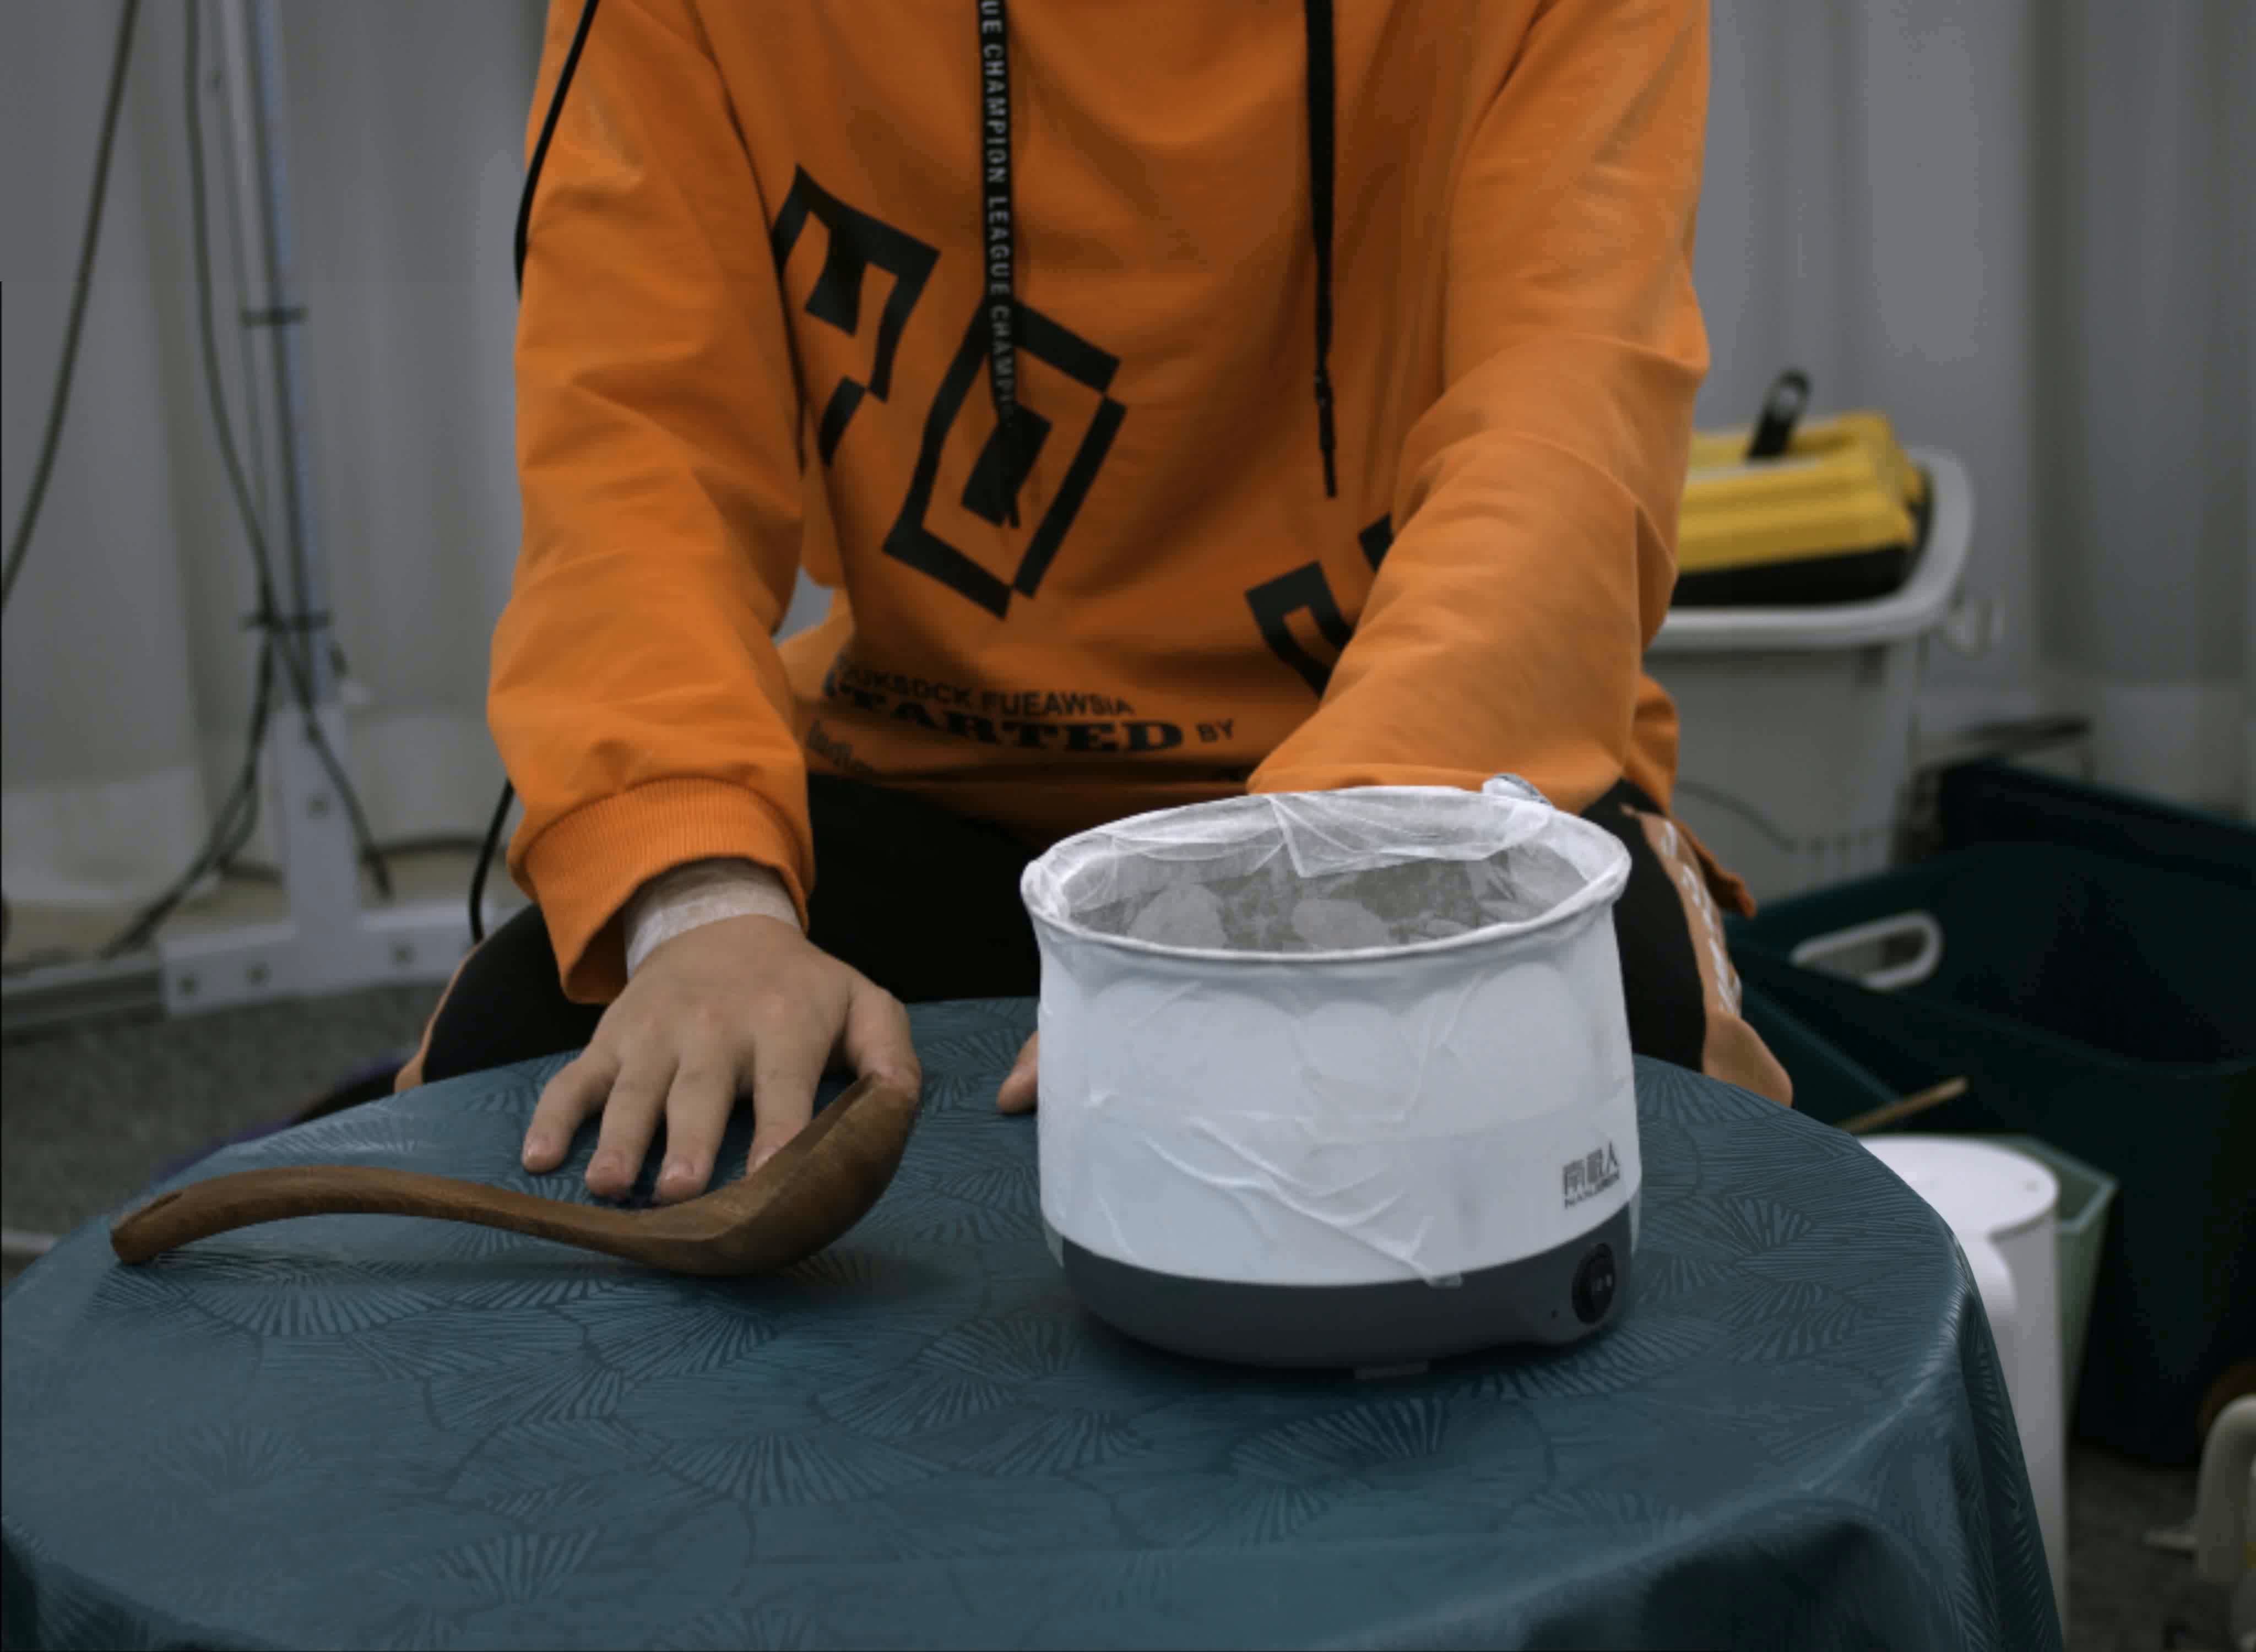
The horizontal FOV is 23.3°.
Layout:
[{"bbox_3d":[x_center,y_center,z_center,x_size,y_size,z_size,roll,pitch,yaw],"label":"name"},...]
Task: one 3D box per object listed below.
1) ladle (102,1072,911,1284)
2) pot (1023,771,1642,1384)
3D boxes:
[{"bbox_3d":[-0.192,0.105,1.667,0.260,0.065,0.077,1,12,14],"label":"ladle"},{"bbox_3d":[0.076,0.067,1.616,0.179,0.136,0.234,7,18,34],"label":"pot"}]
